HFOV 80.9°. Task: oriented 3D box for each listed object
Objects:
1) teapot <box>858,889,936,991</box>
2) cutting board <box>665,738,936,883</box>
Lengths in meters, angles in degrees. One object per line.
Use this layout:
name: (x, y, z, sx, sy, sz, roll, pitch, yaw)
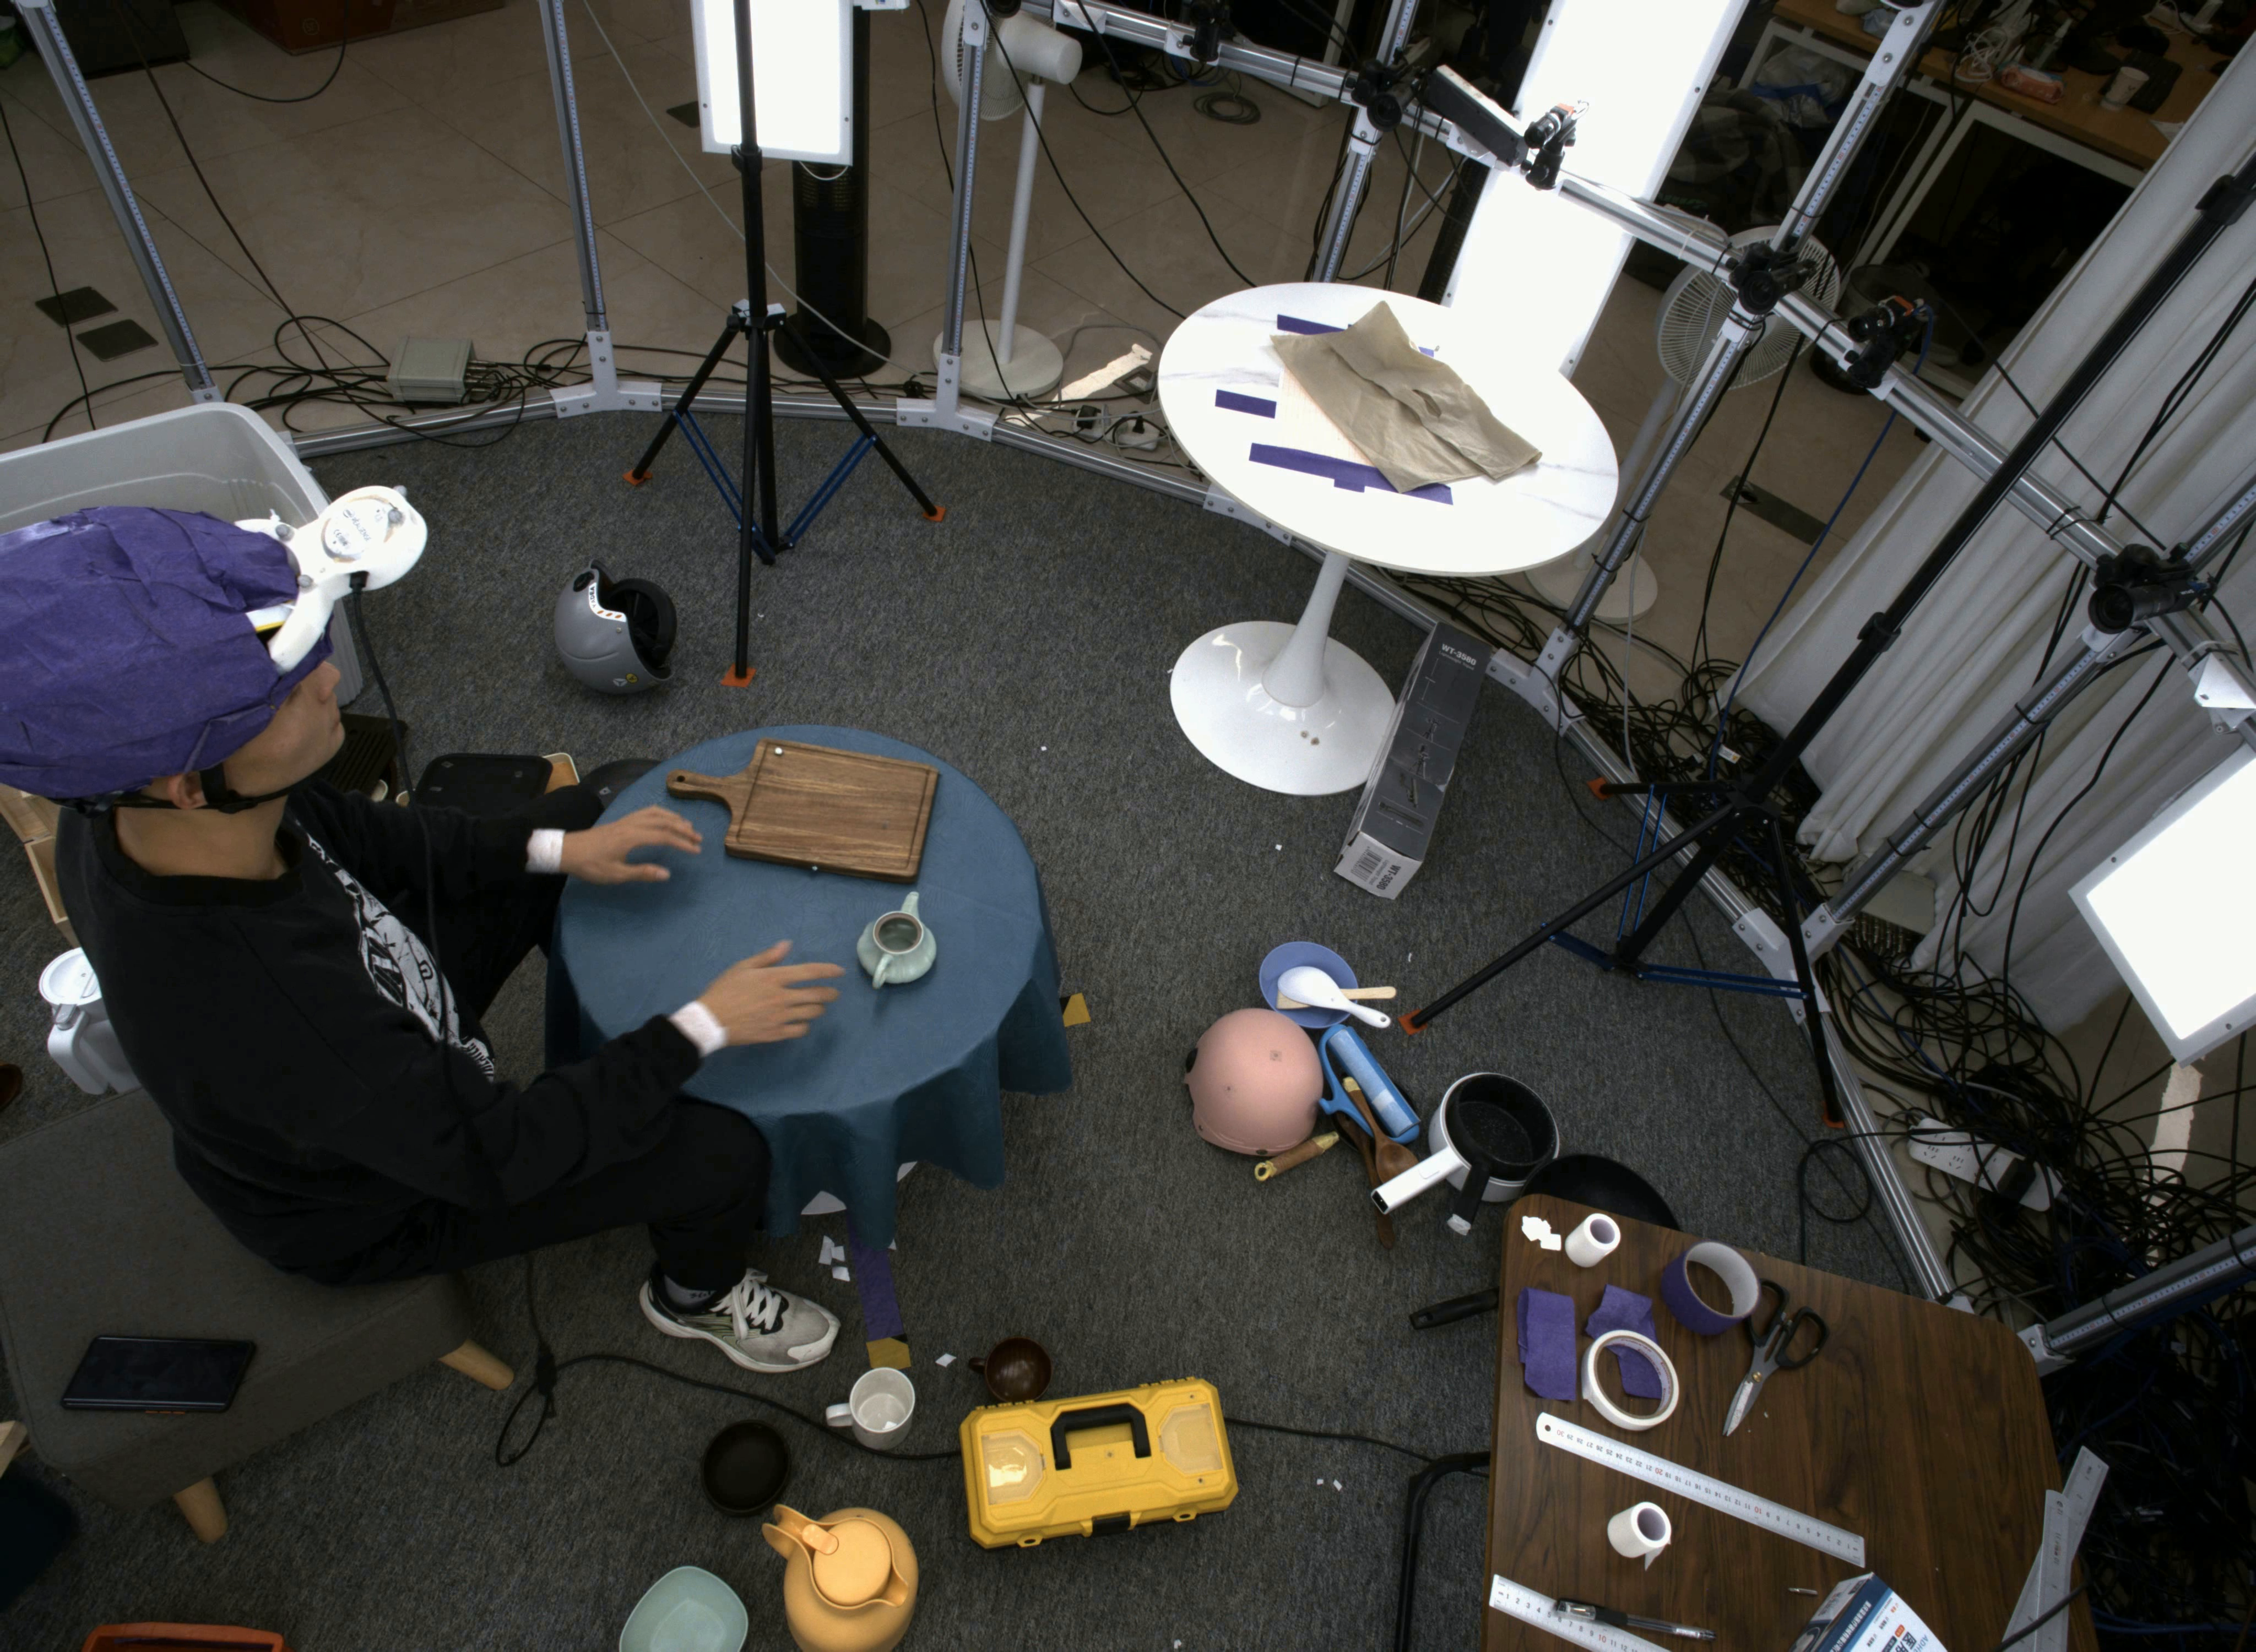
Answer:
teapot: (-0.287, 0.147, 1.609, 0.096, 0.062, 0.135, 17, 51, -3)
cutting board: (-0.440, -0.032, 1.727, 0.351, 0.023, 0.197, 9, 52, -8)
